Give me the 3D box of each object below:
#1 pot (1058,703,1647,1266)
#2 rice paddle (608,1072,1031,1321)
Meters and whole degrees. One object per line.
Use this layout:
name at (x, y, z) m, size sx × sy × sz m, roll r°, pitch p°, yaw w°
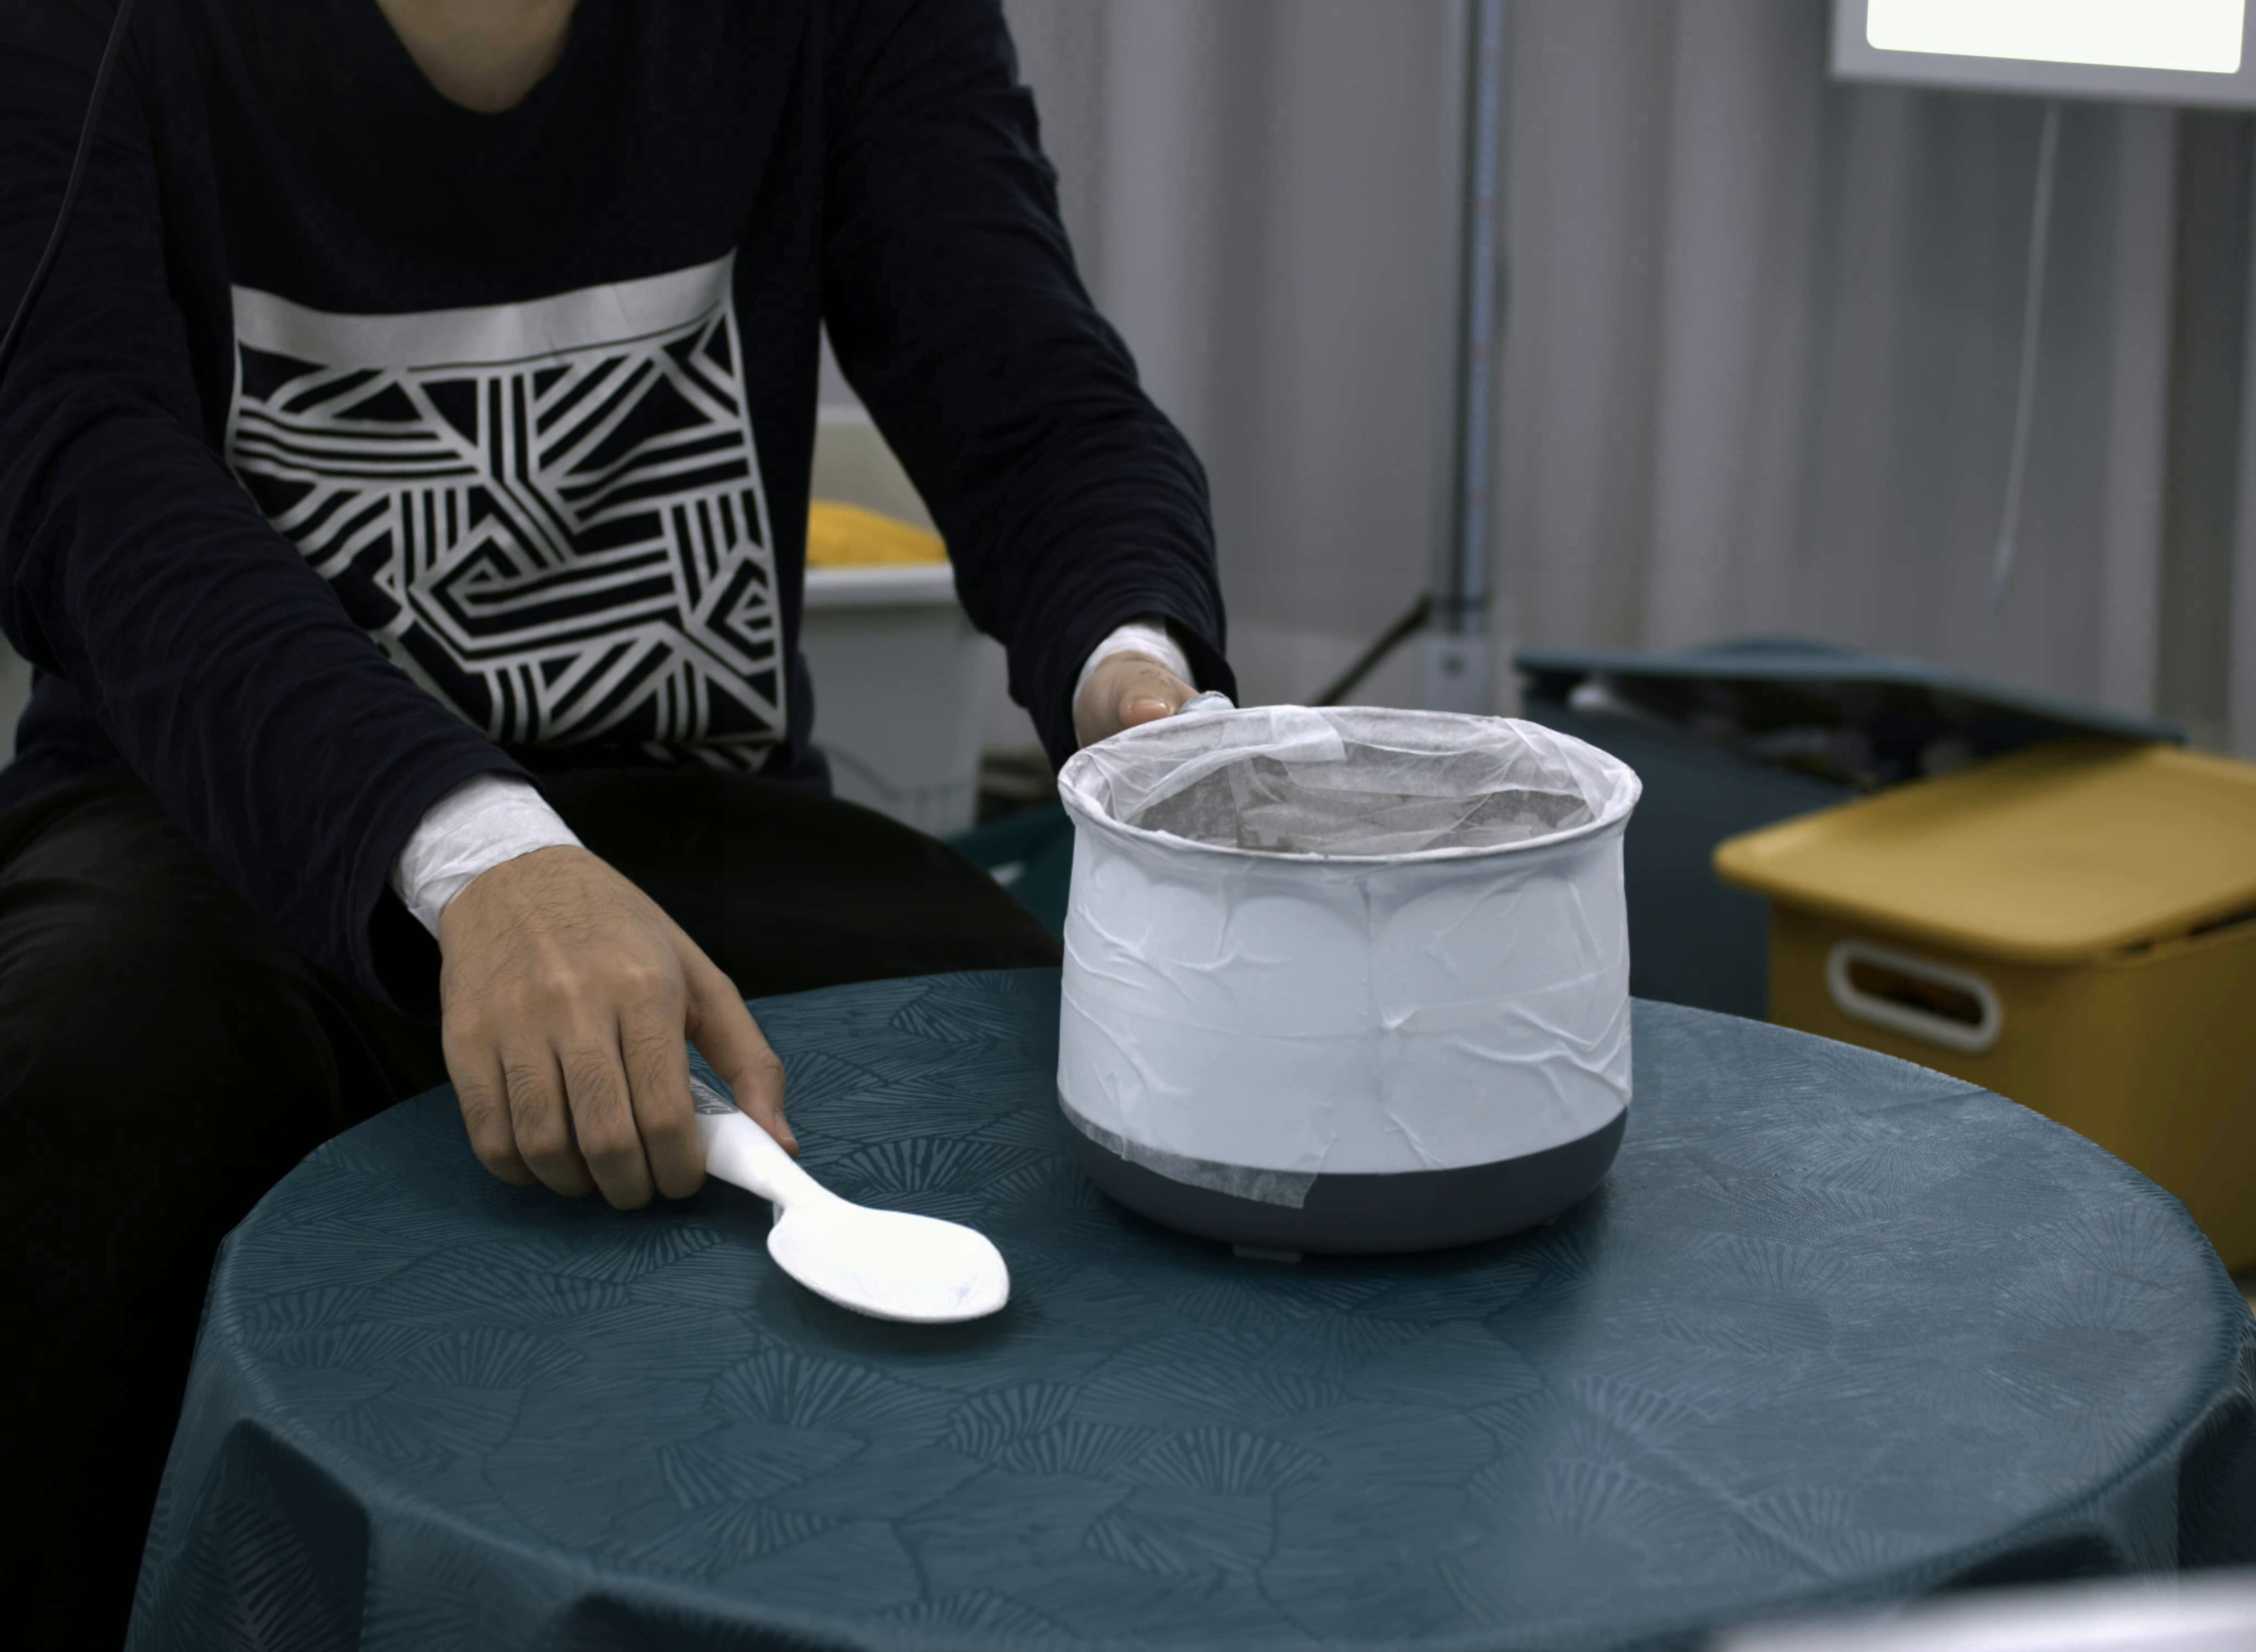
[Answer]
pot at (0.056, 0.043, 1.633) m, size 0.179 × 0.137 × 0.231 m, roll -5°, pitch 15°, yaw -25°
rice paddle at (-0.096, 0.112, 1.568) m, size 0.069 × 0.029 × 0.202 m, roll -9°, pitch 17°, yaw -31°
